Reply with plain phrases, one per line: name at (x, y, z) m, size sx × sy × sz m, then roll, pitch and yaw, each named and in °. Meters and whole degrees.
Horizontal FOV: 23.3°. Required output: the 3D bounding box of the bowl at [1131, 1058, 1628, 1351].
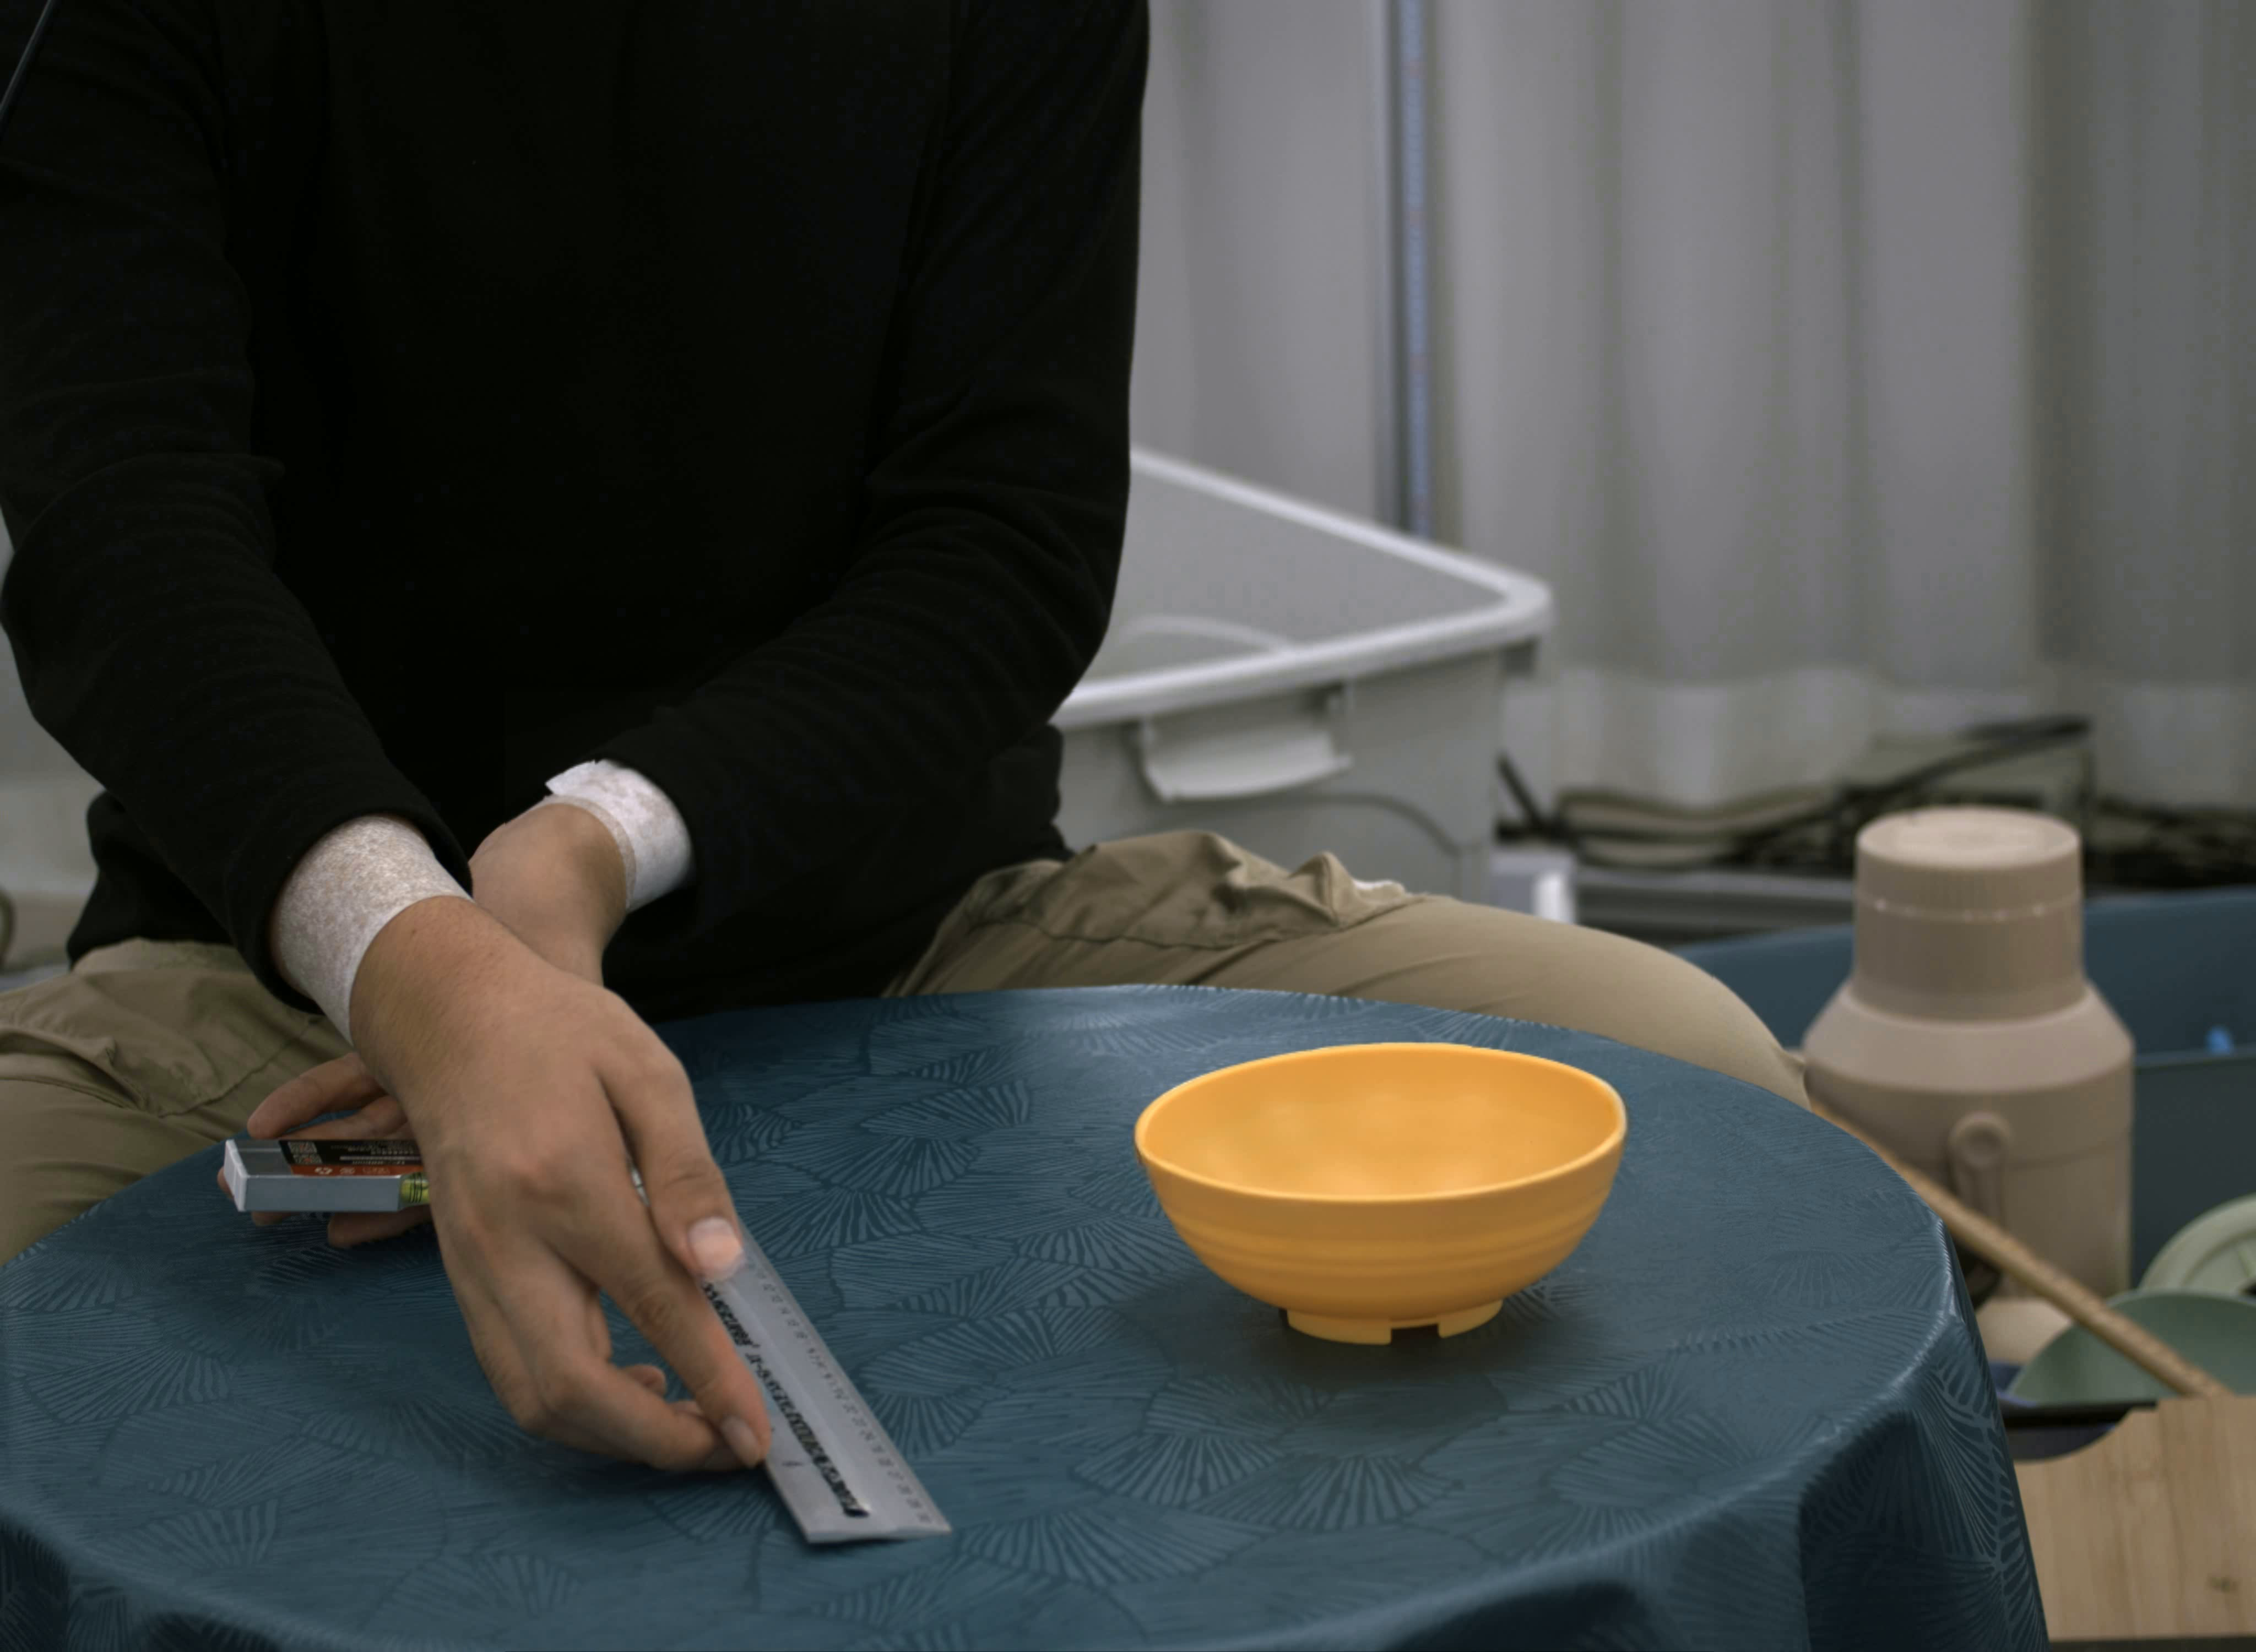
bowl at (0.073, 0.115, 1.593) m, size 0.145 × 0.060 × 0.146 m, roll -1°, pitch 12°, yaw 0°

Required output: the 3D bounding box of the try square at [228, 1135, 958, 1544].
try square at (-0.162, 0.146, 1.572) m, size 0.151 × 0.016 × 0.316 m, roll -1°, pitch 16°, yaw -17°
